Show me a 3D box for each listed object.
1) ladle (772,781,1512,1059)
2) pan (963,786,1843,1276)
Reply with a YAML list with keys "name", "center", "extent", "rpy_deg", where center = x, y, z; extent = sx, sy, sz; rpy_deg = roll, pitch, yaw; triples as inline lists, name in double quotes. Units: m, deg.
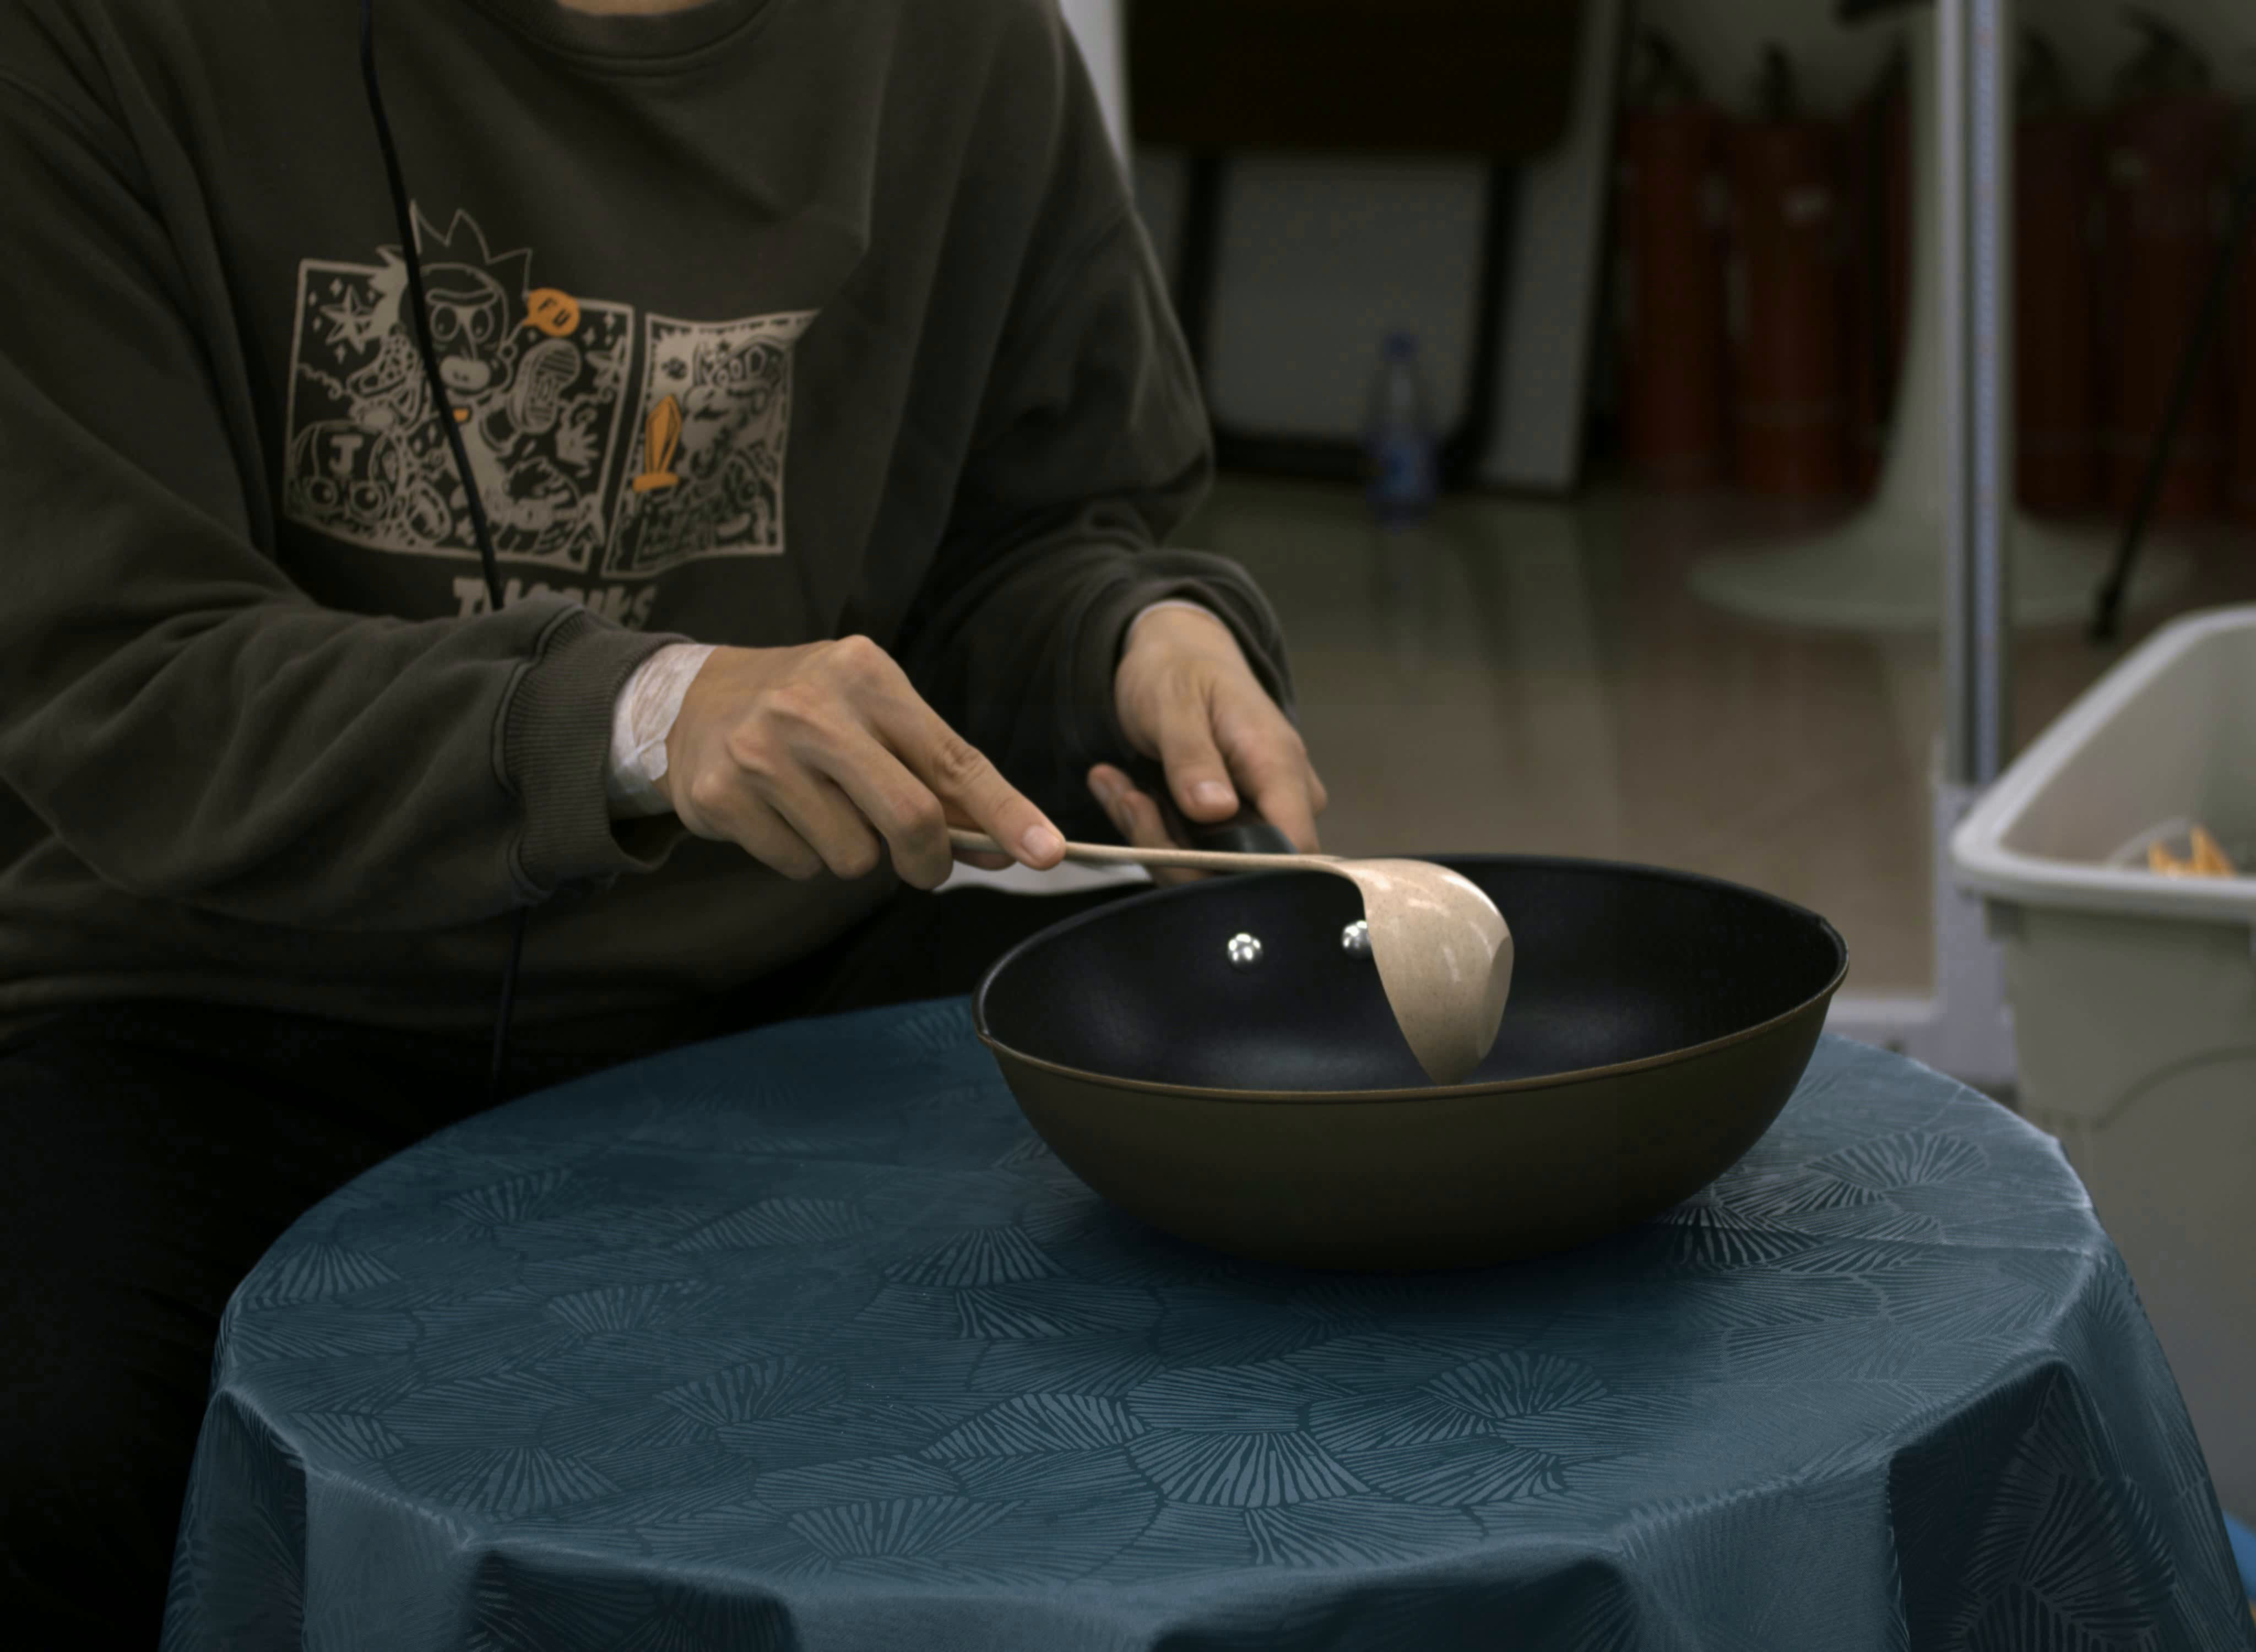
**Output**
- name: "ladle"
  center: [-0.001, 0.035, 1.735]
  extent: [0.254, 0.074, 0.071]
  rpy_deg: [6, 8, 21]
- name: "pan"
  center: [0.068, 0.066, 1.815]
  extent: [0.283, 0.088, 0.466]
  rpy_deg: [-7, 12, -12]
